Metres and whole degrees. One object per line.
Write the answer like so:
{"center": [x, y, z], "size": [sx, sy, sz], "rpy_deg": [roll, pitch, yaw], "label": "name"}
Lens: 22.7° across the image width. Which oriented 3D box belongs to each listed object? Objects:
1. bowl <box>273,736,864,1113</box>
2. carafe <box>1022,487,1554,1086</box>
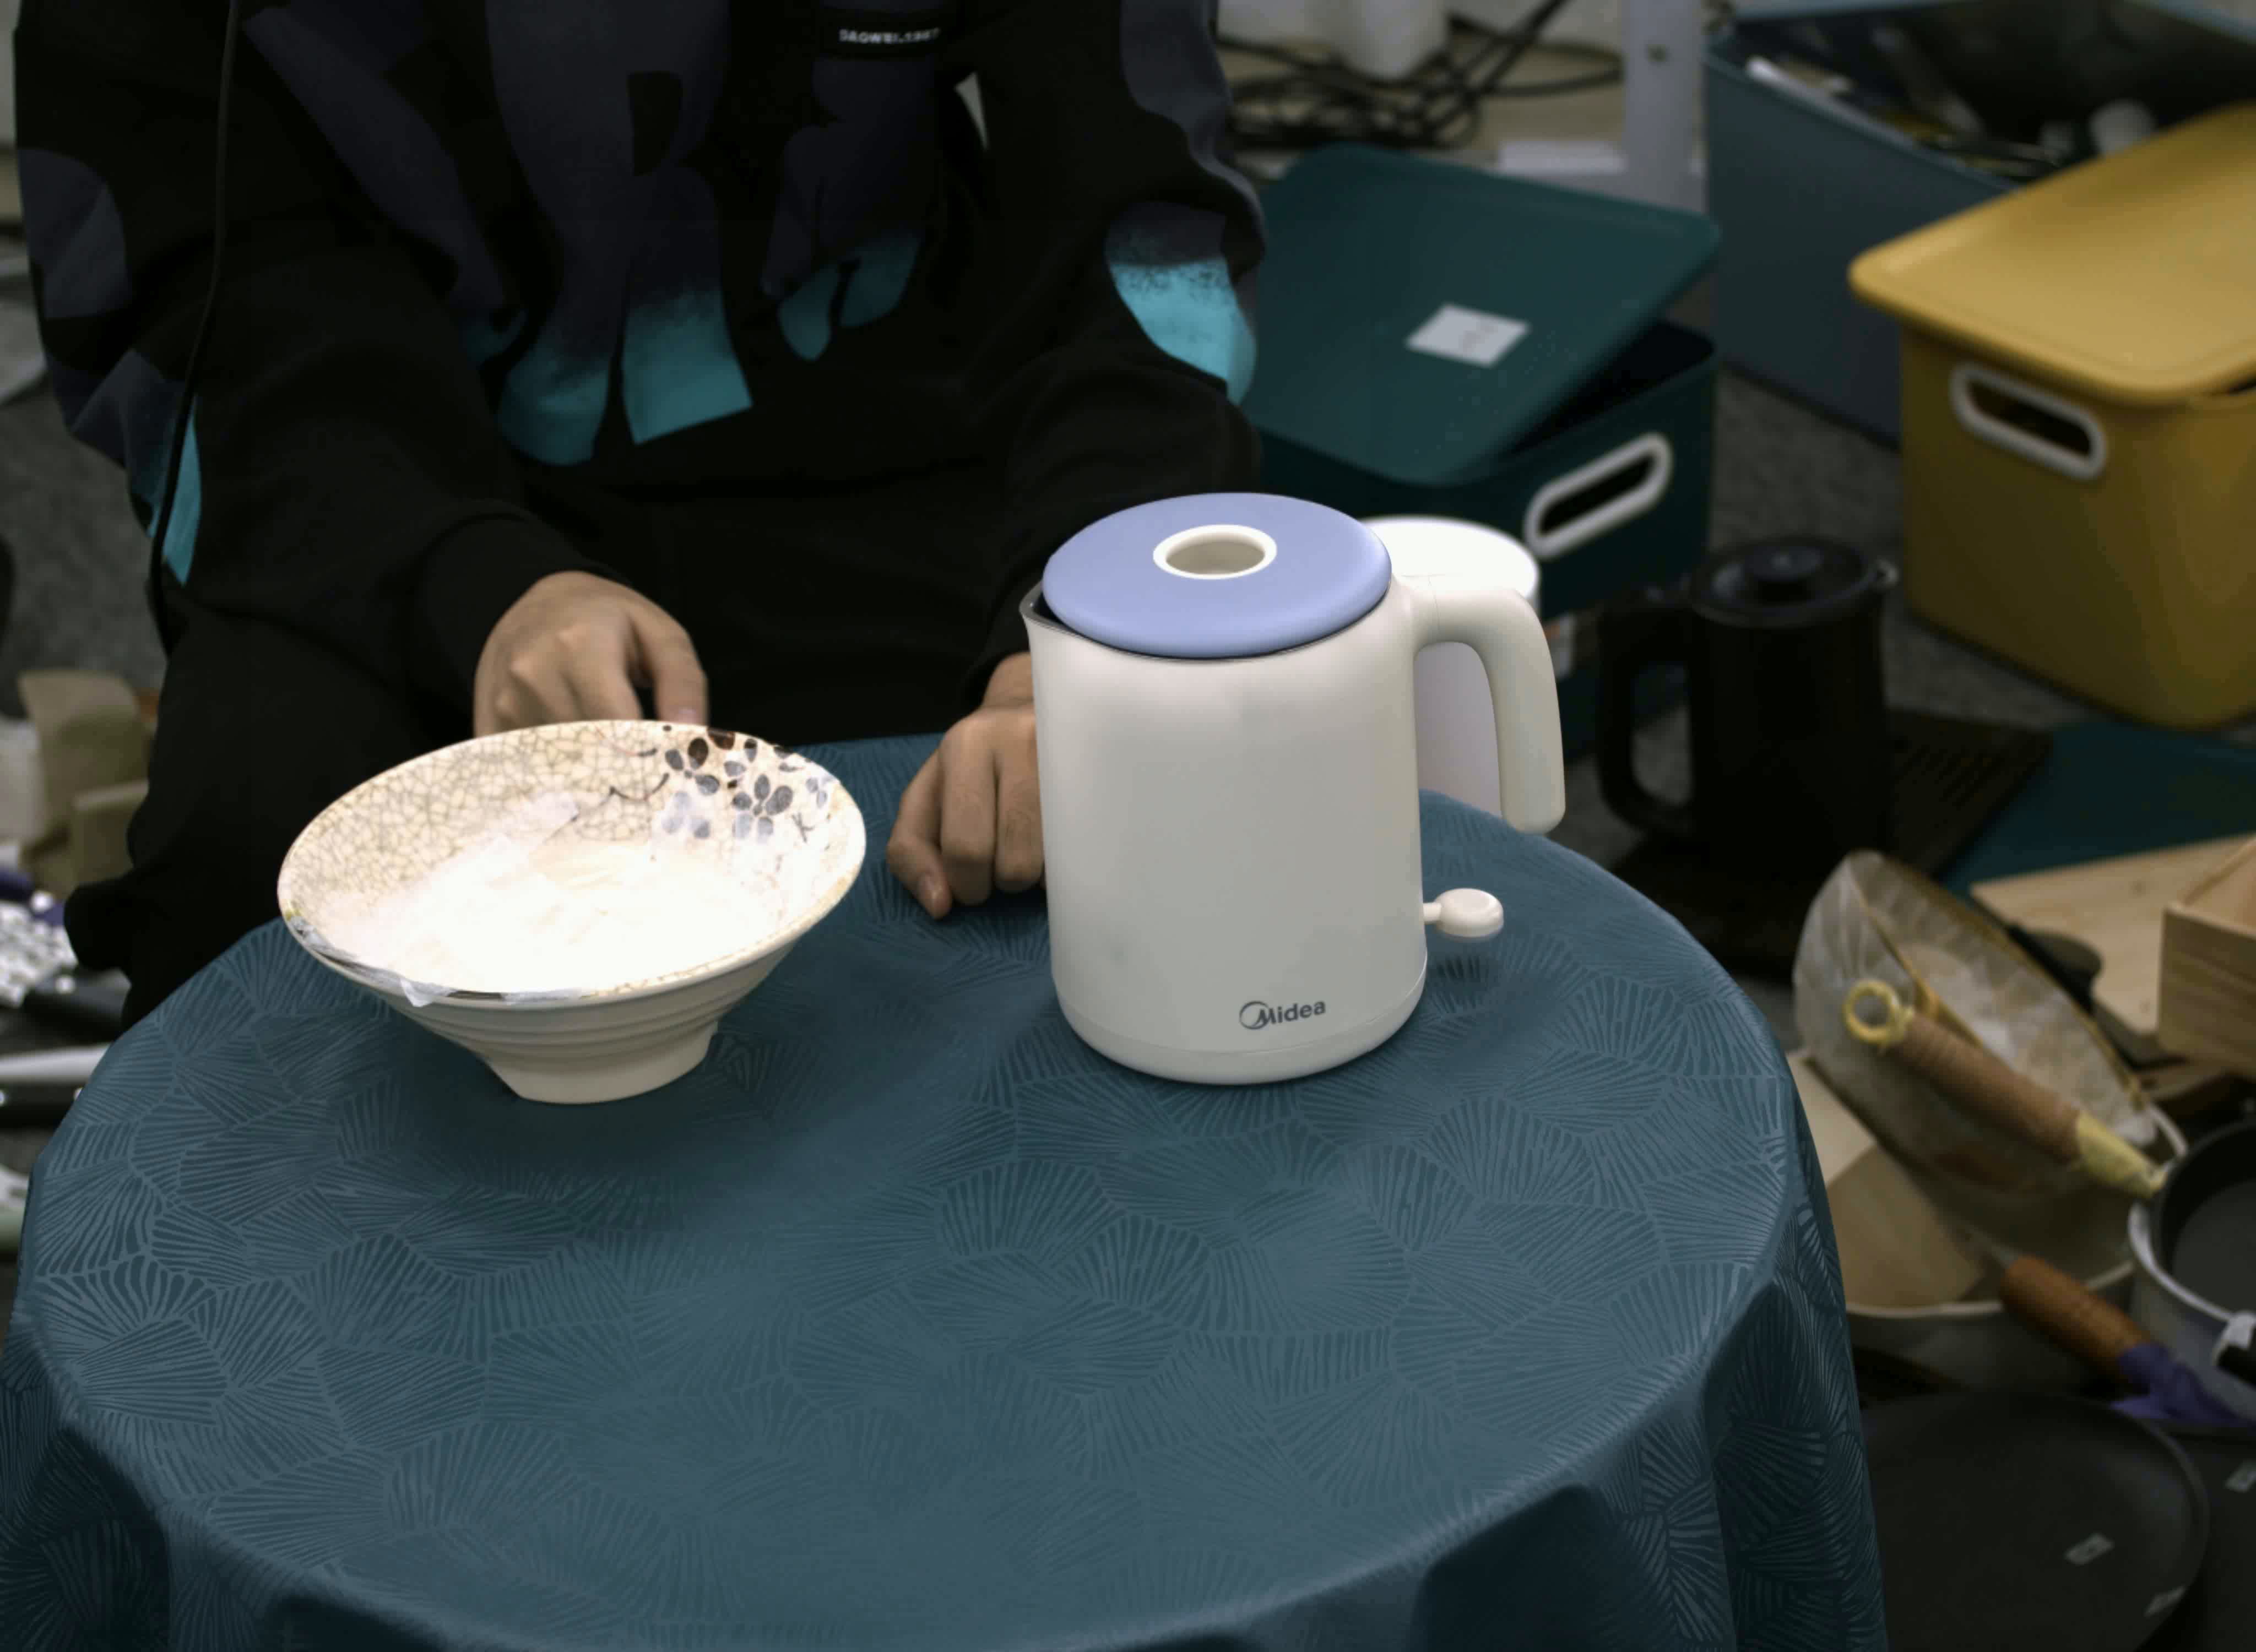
{"center": [-0.190, 0.045, 1.946], "size": [0.203, 0.077, 0.207], "rpy_deg": [-2, 25, 1], "label": "bowl"}
{"center": [0.057, -0.017, 1.940], "size": [0.191, 0.180, 0.133], "rpy_deg": [-7, 28, -13], "label": "carafe"}
